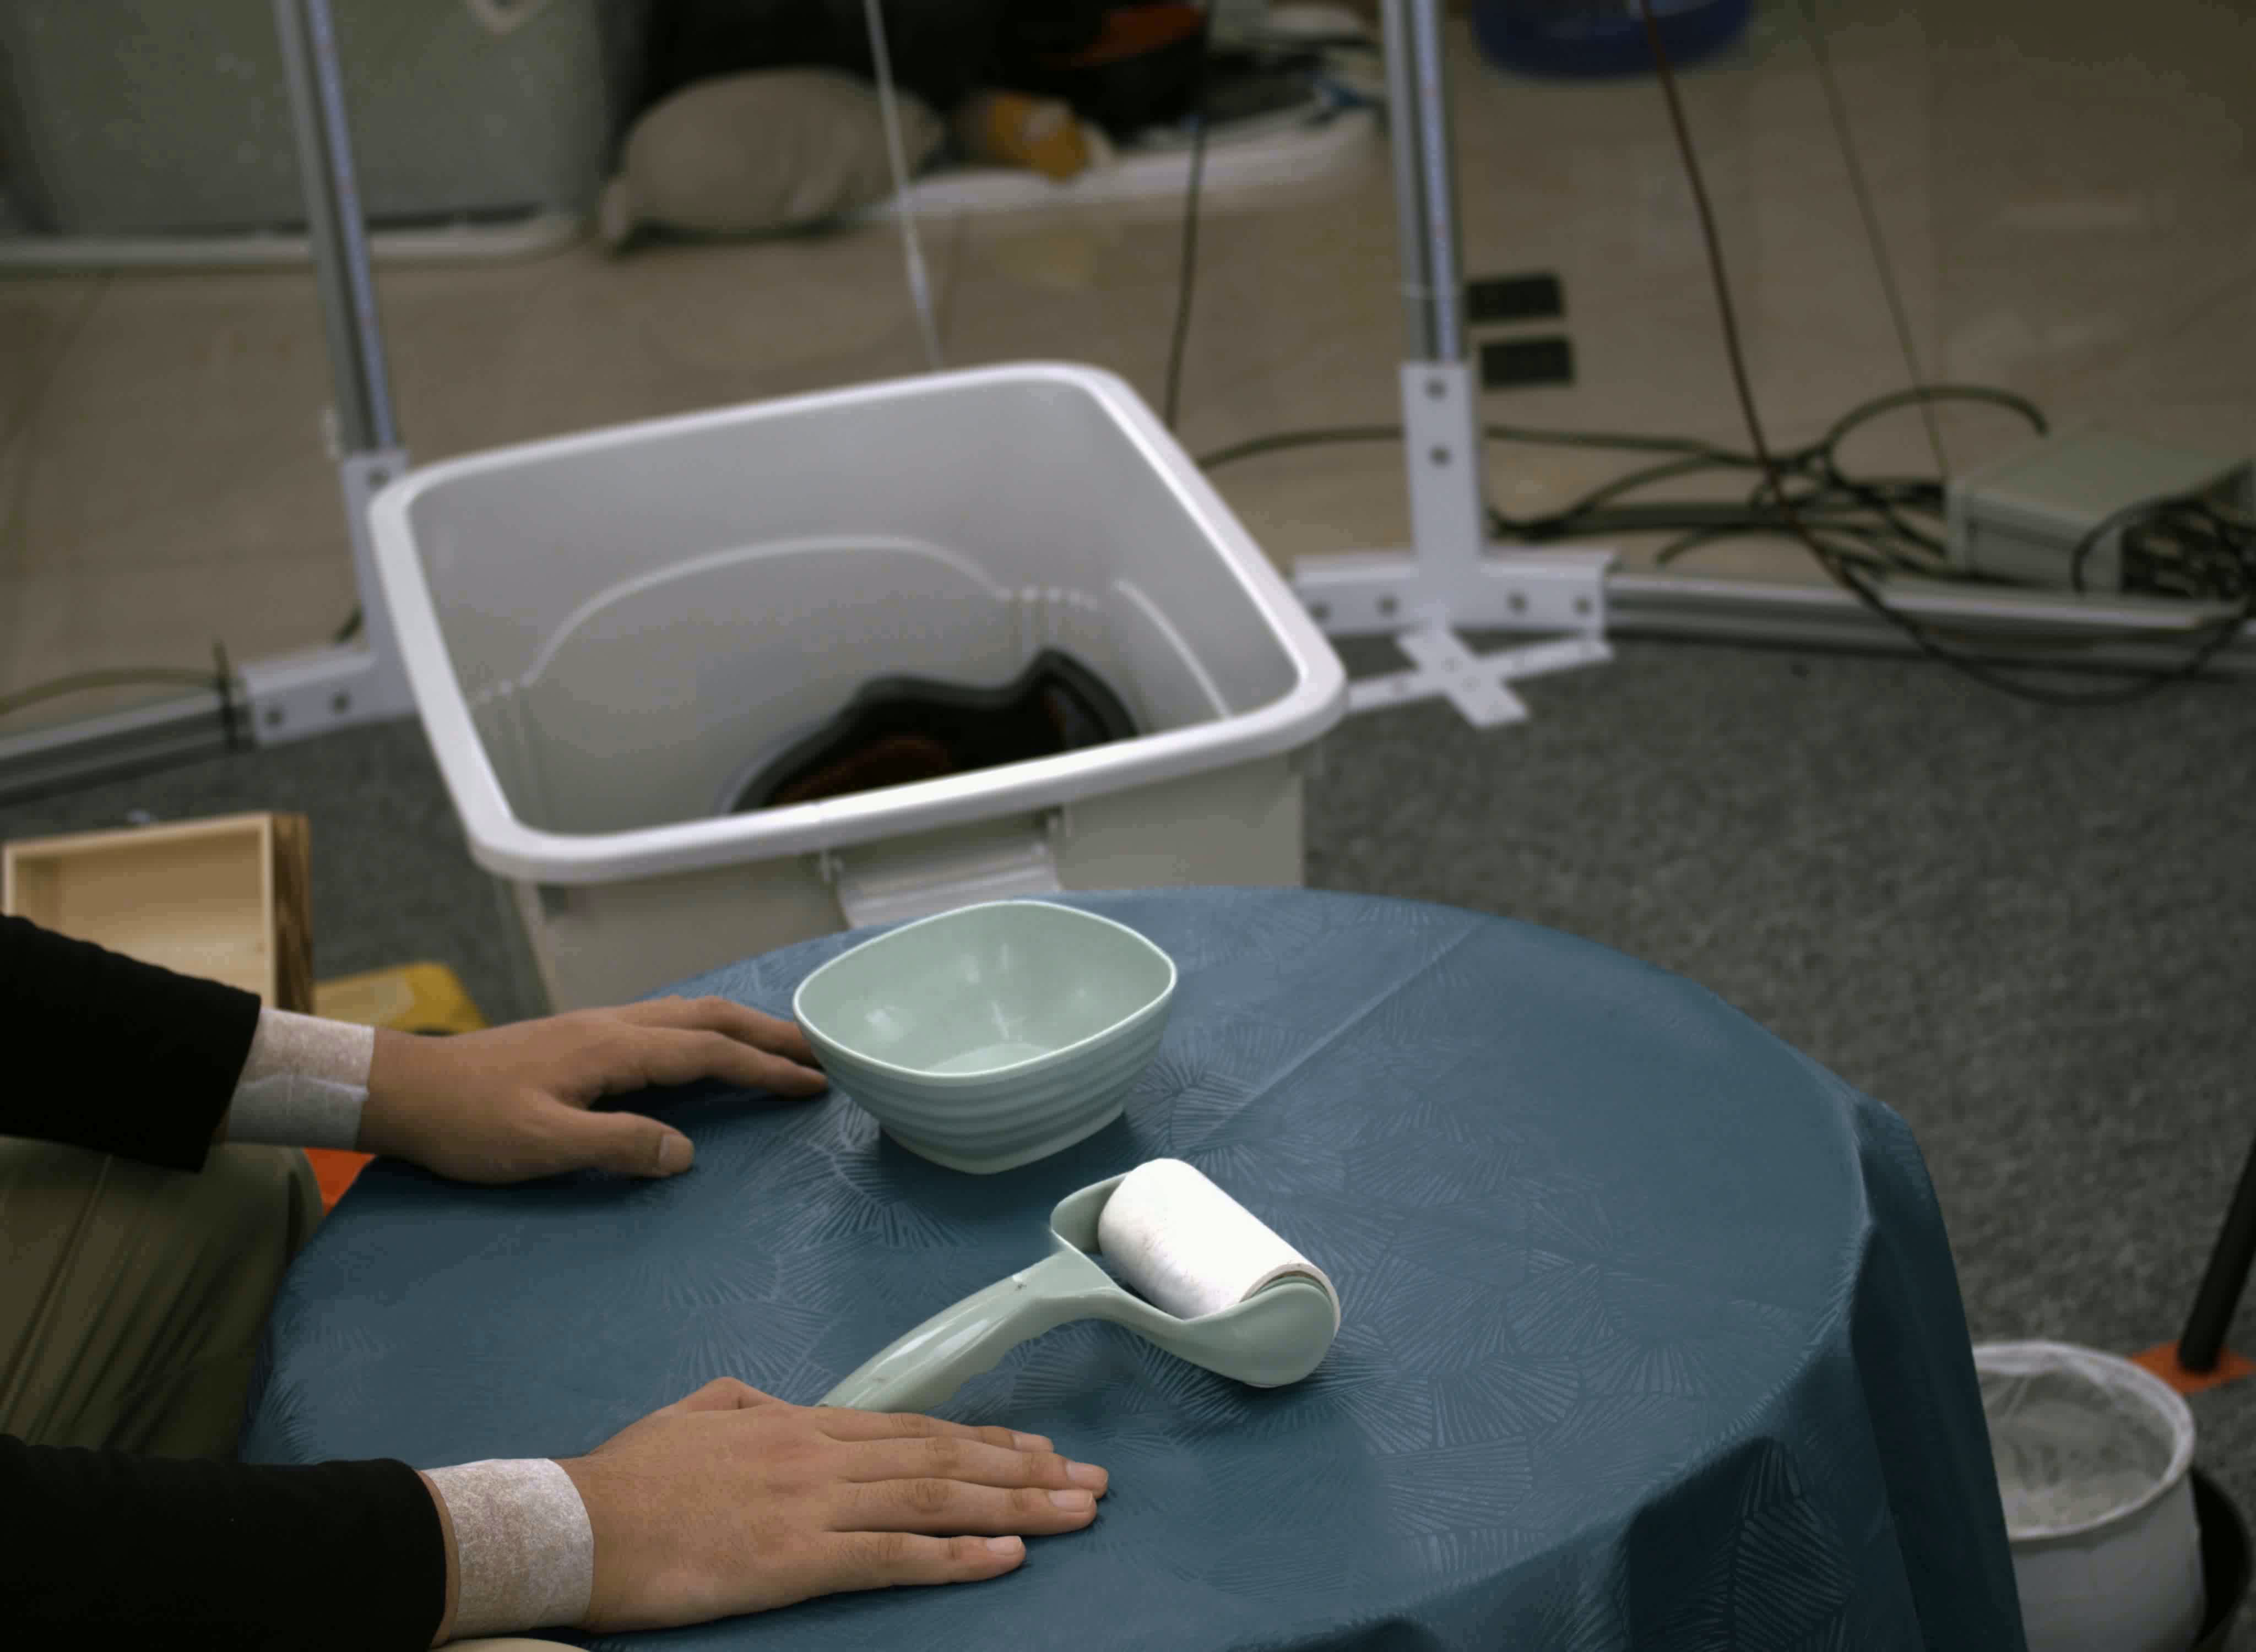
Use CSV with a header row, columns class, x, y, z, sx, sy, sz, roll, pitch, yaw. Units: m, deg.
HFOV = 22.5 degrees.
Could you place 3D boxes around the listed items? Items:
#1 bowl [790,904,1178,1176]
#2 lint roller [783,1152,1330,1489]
class,x,y,z,sx,sy,sz,roll,pitch,yaw
bowl,-0.054,0.088,2.203,0.151,0.059,0.149,-4,25,2
lint roller,-0.037,0.180,2.017,0.196,0.049,0.115,-19,29,-22
